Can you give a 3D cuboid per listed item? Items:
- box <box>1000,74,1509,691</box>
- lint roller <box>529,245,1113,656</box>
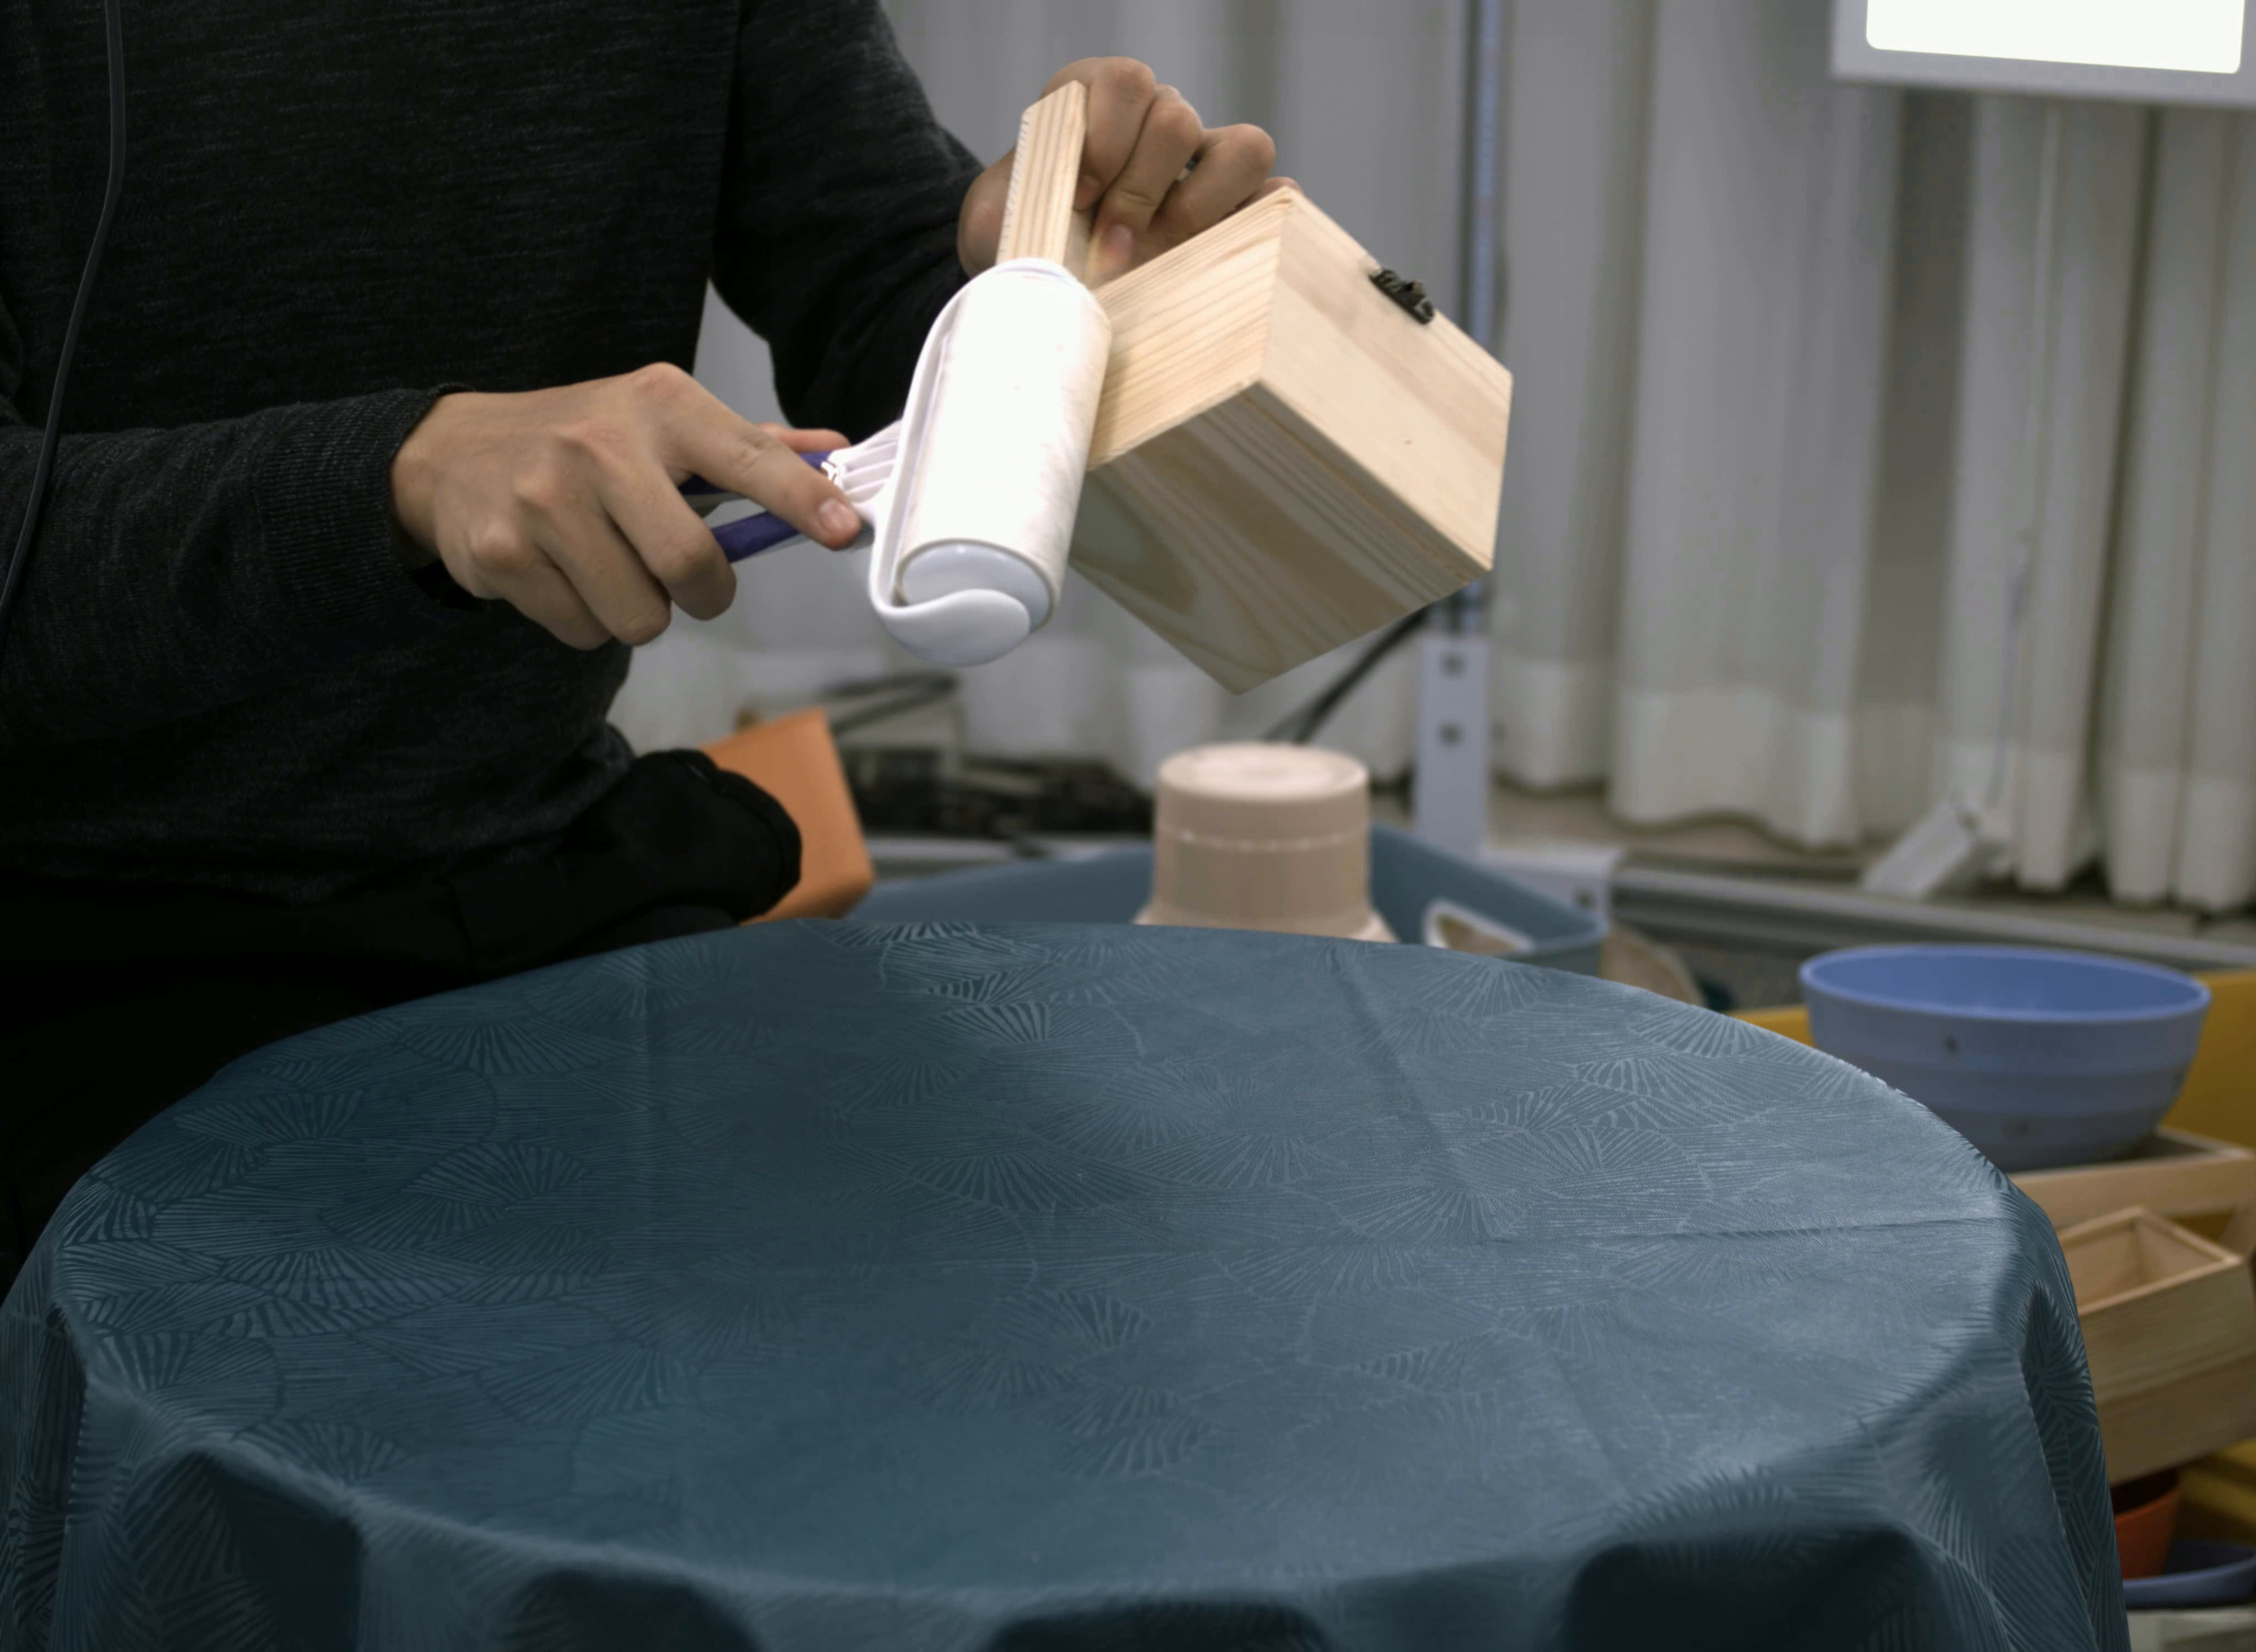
[{"bbox_3d":[0.037,-0.151,1.567,0.133,0.104,0.183,-25,41,37],"label":"box"},{"bbox_3d":[-0.095,-0.103,1.501,0.179,0.051,0.132,-2,54,19],"label":"lint roller"}]
